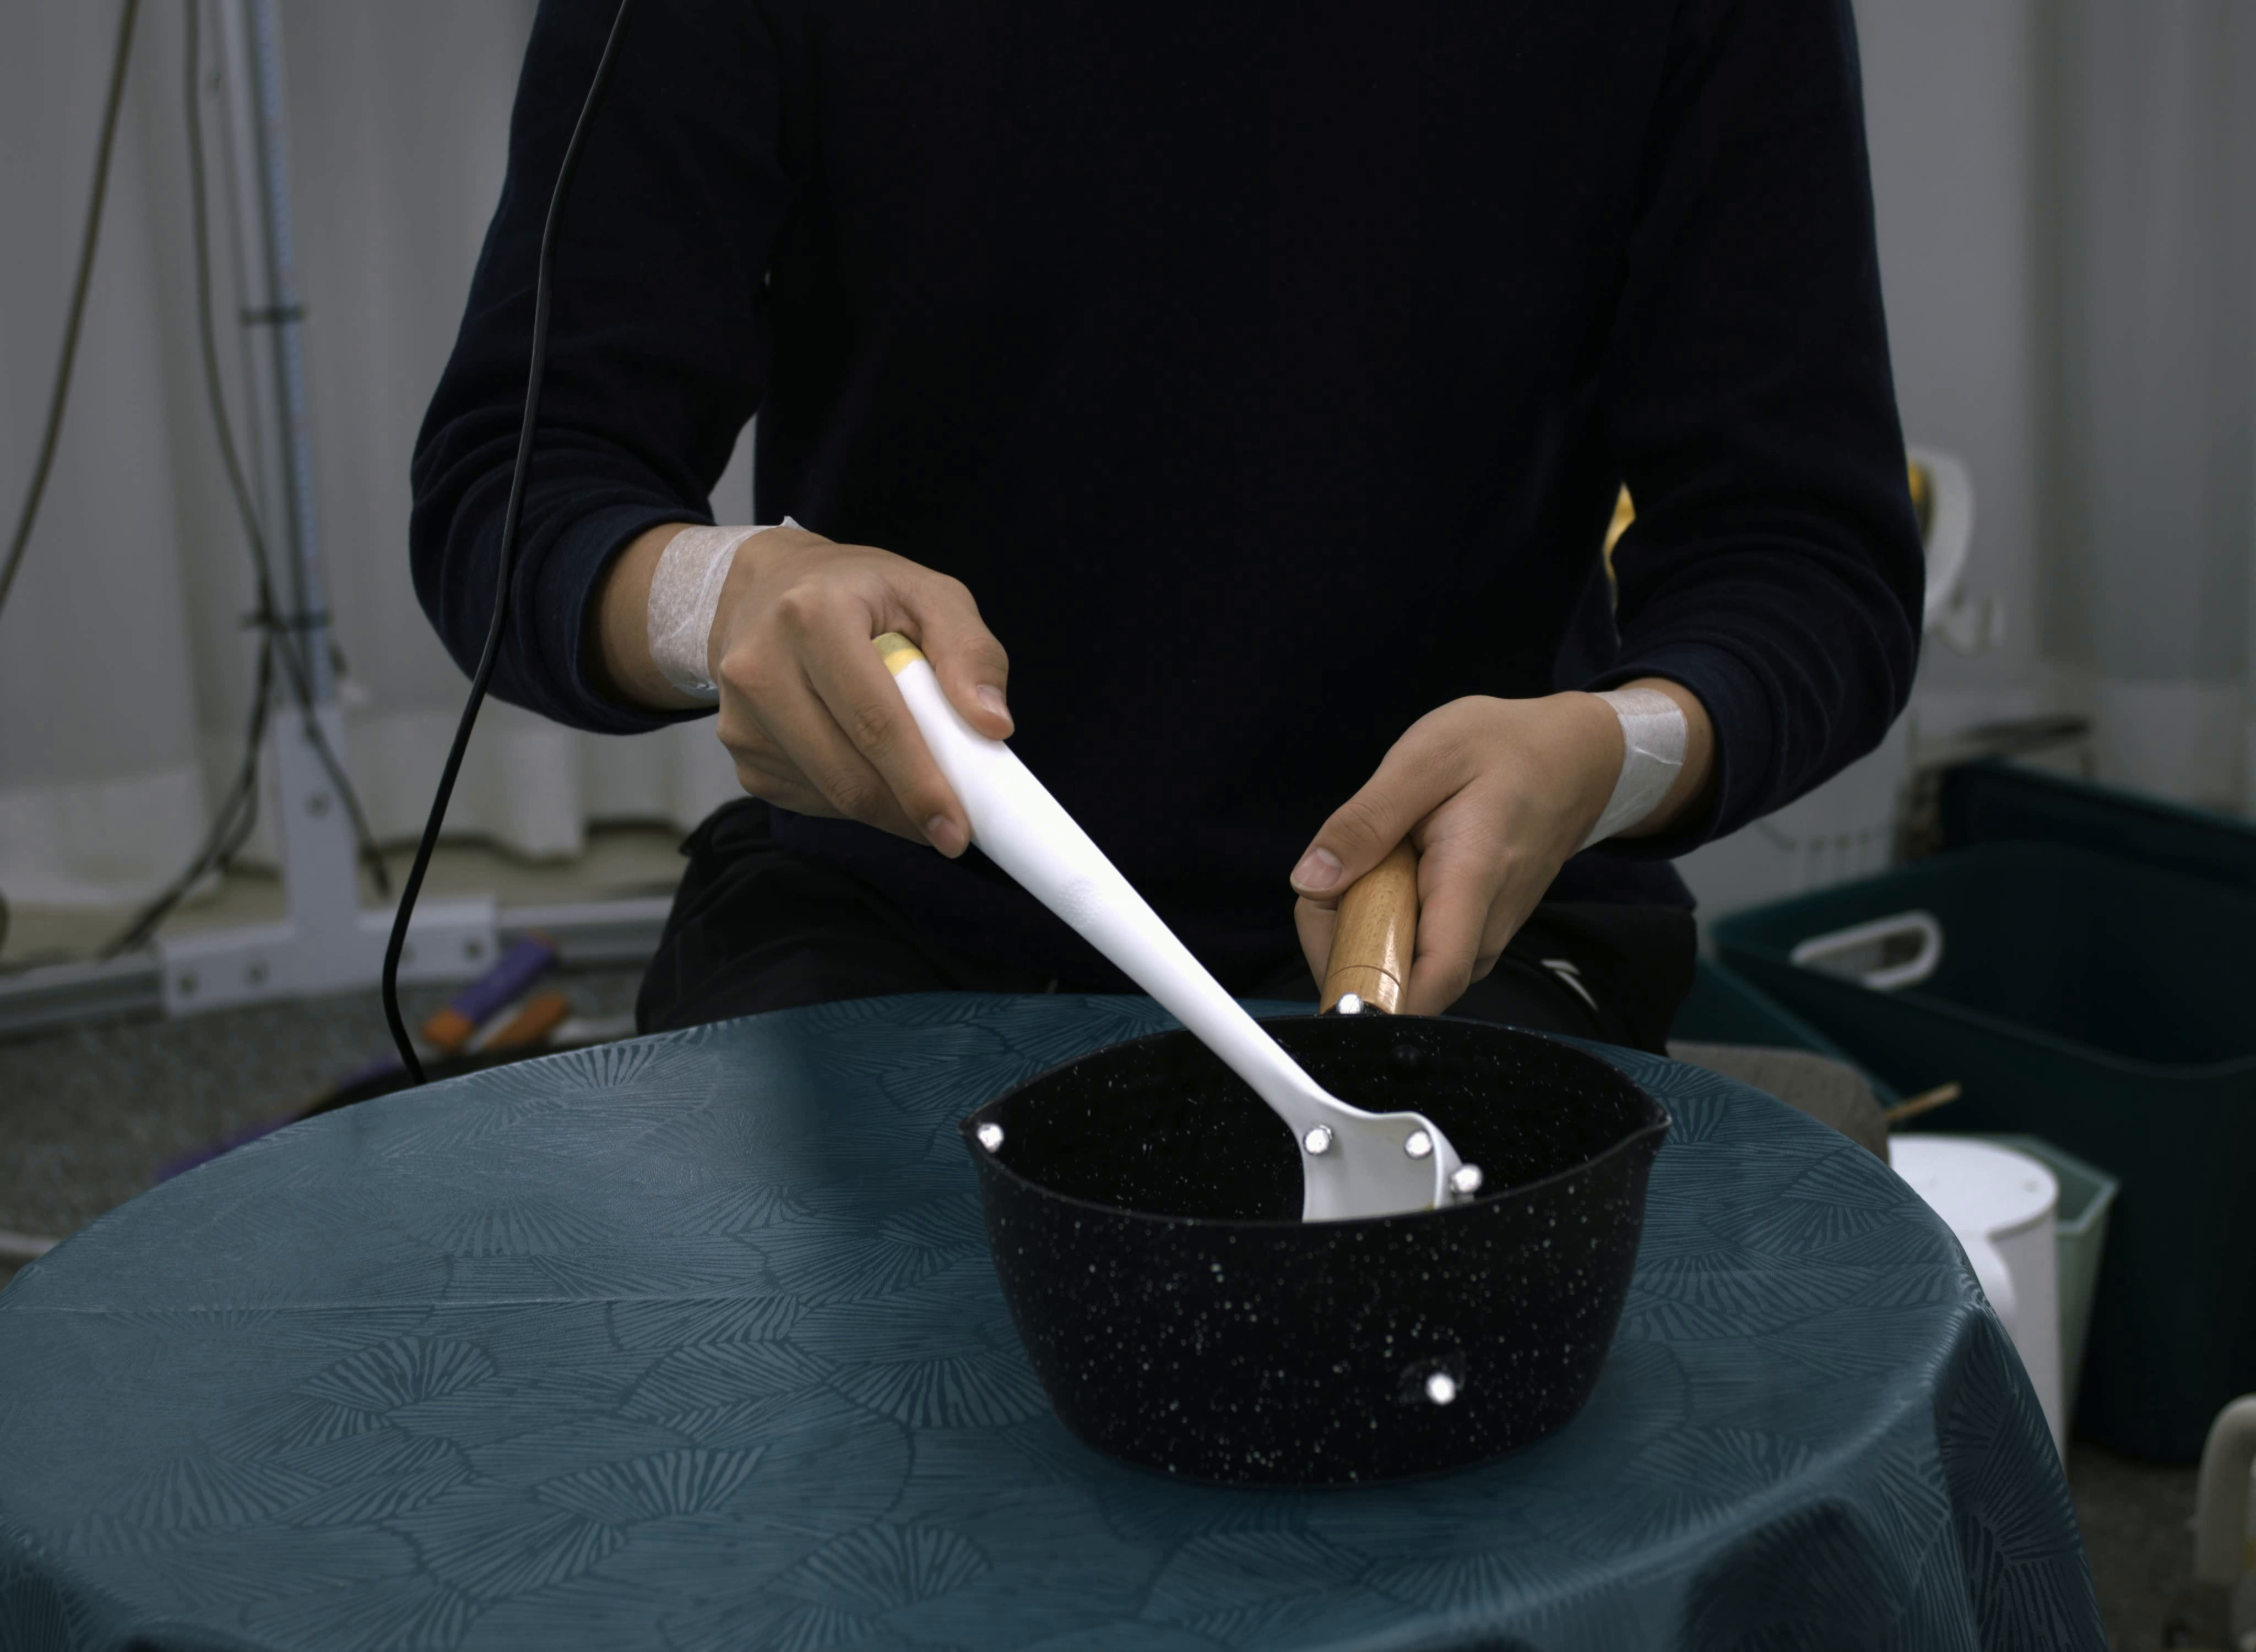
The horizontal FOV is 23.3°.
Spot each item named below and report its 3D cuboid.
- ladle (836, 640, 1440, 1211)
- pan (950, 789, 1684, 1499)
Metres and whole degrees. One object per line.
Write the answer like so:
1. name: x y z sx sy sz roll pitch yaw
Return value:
1. ladle: -0.003 0.053 1.583 0.070 0.089 0.296 -12 49 -43
2. pan: 0.062 0.087 1.598 0.207 0.108 0.345 -2 16 8
